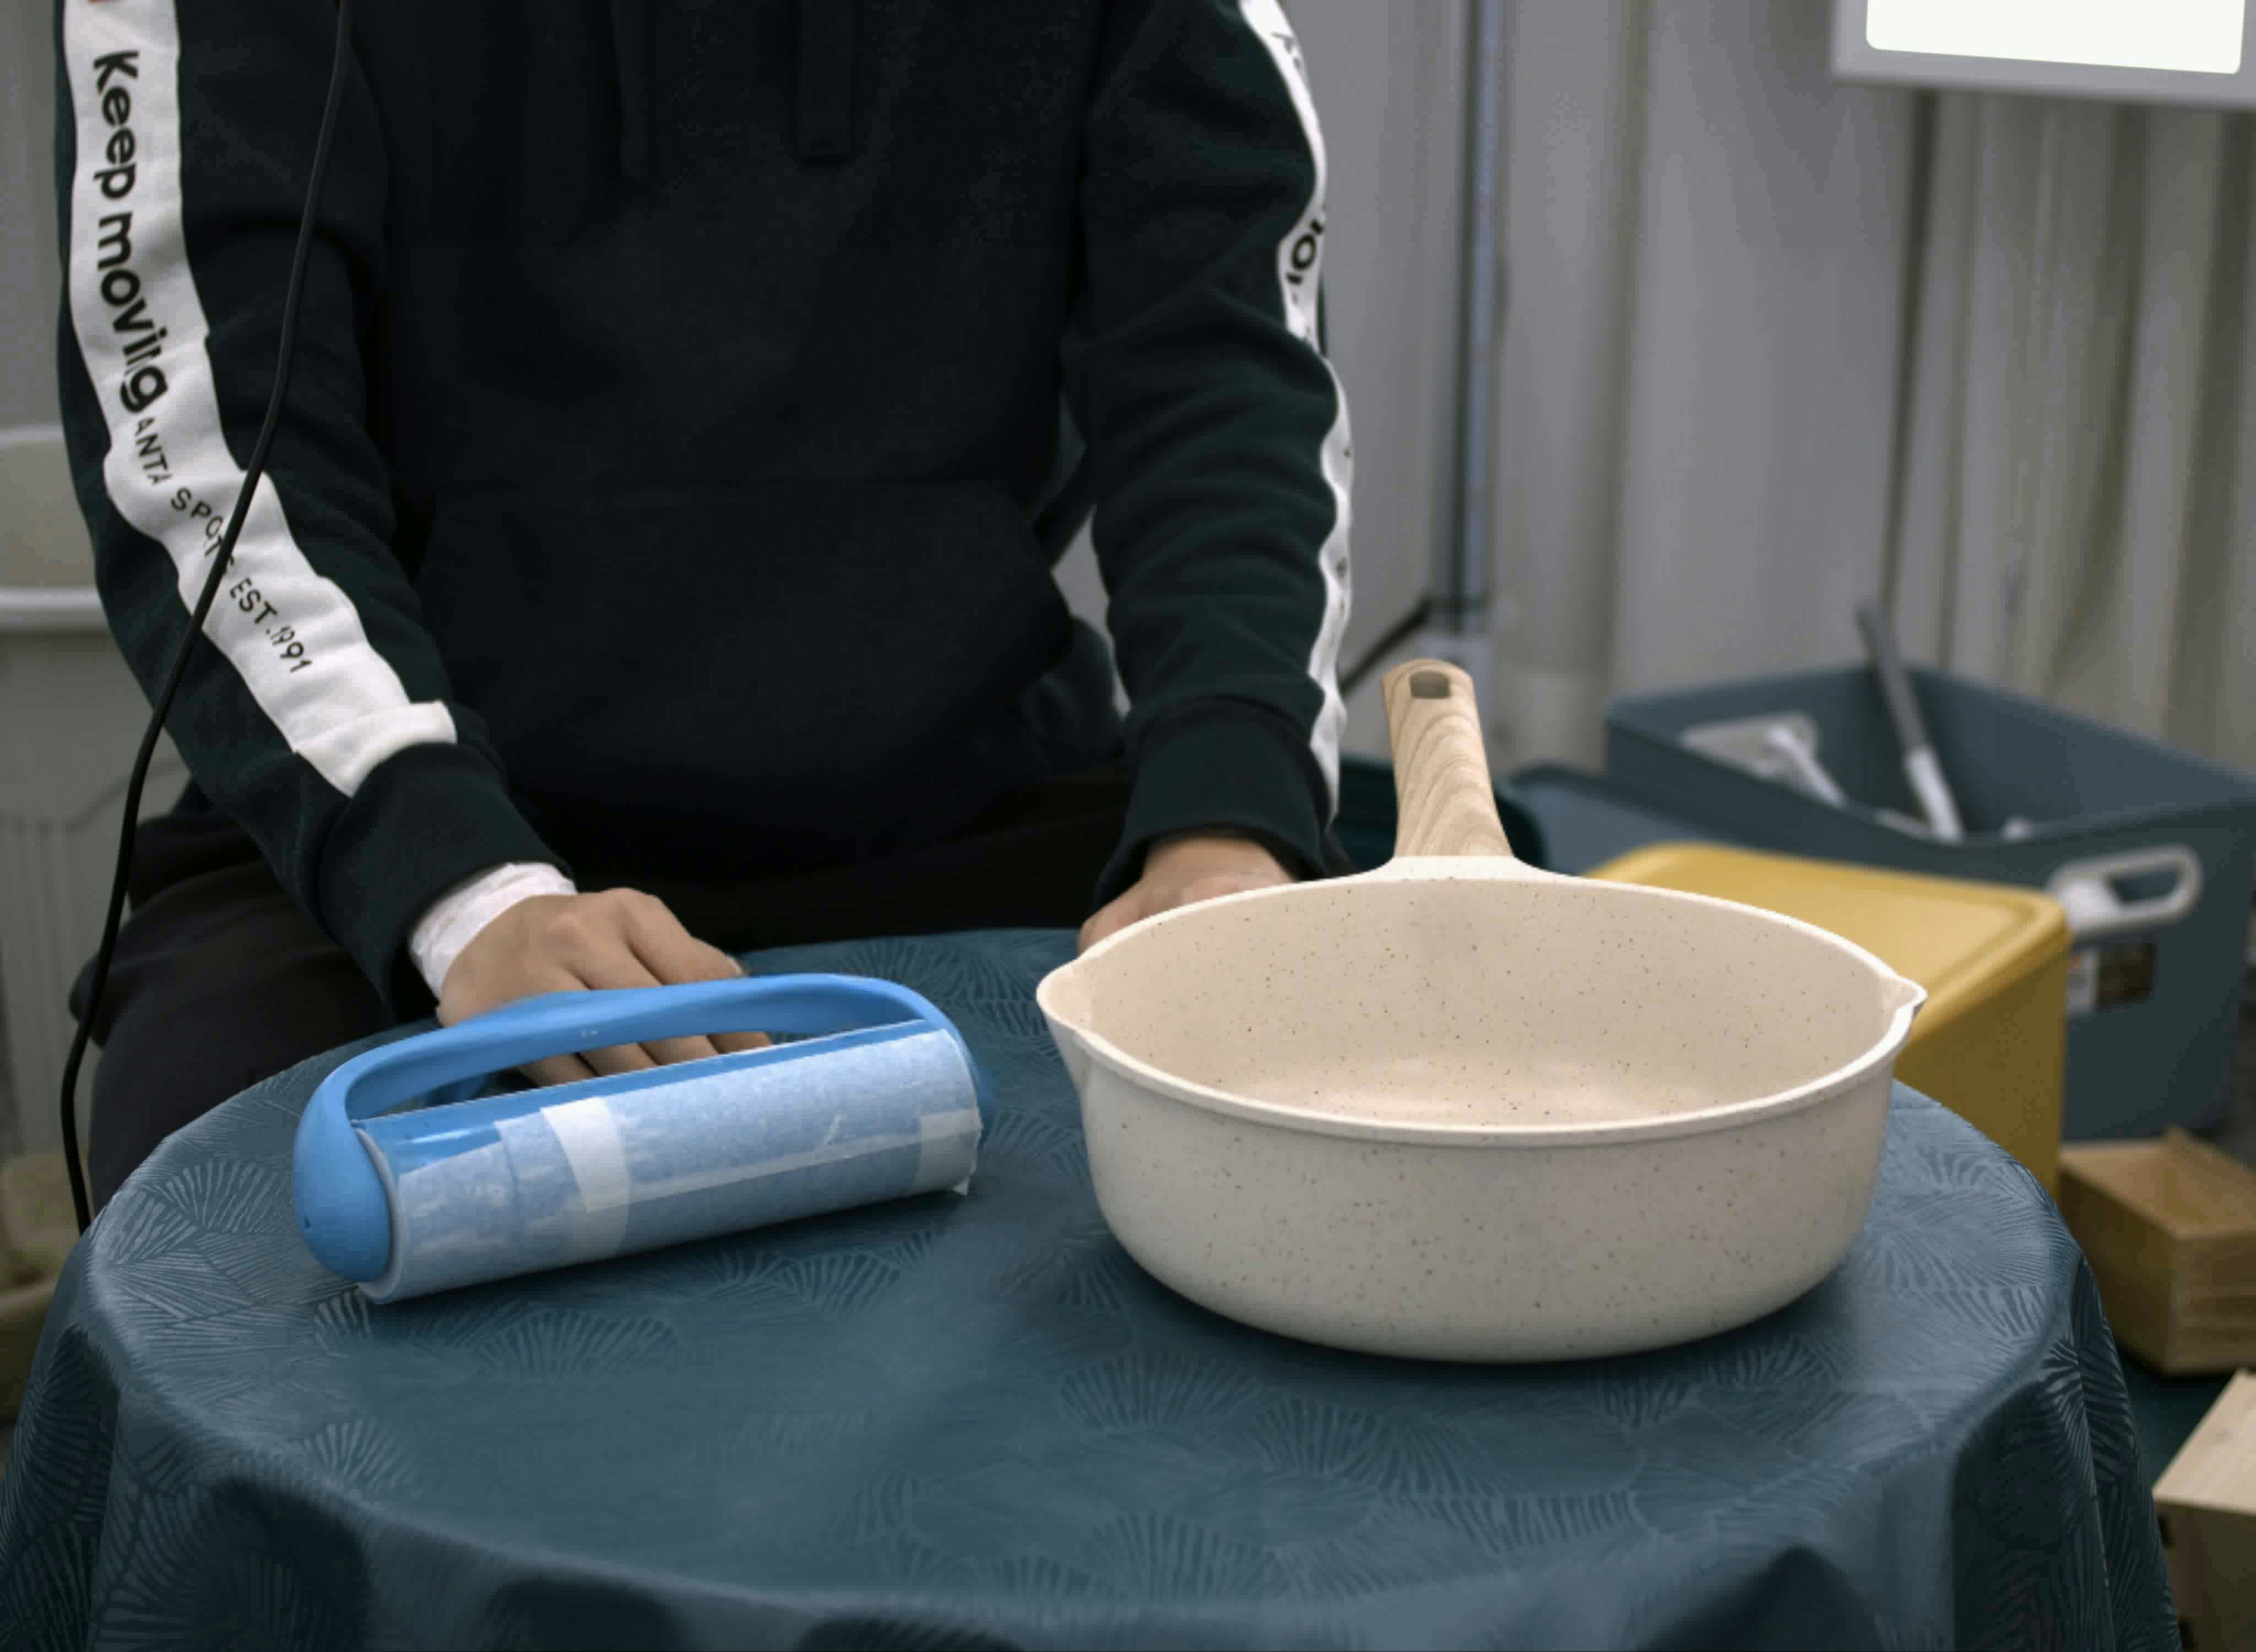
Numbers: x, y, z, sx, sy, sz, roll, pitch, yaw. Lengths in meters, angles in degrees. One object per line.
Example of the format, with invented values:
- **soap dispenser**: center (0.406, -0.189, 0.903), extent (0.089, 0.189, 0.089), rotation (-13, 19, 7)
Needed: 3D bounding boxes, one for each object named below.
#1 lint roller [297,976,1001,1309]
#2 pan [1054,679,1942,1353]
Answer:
- **lint roller**: center (-0.172, 0.084, 1.610), extent (0.230, 0.068, 0.178), rotation (-12, 21, -34)
- **pan**: center (0.107, 0.054, 1.644), extent (0.262, 0.103, 0.432), rotation (-1, 15, -1)
